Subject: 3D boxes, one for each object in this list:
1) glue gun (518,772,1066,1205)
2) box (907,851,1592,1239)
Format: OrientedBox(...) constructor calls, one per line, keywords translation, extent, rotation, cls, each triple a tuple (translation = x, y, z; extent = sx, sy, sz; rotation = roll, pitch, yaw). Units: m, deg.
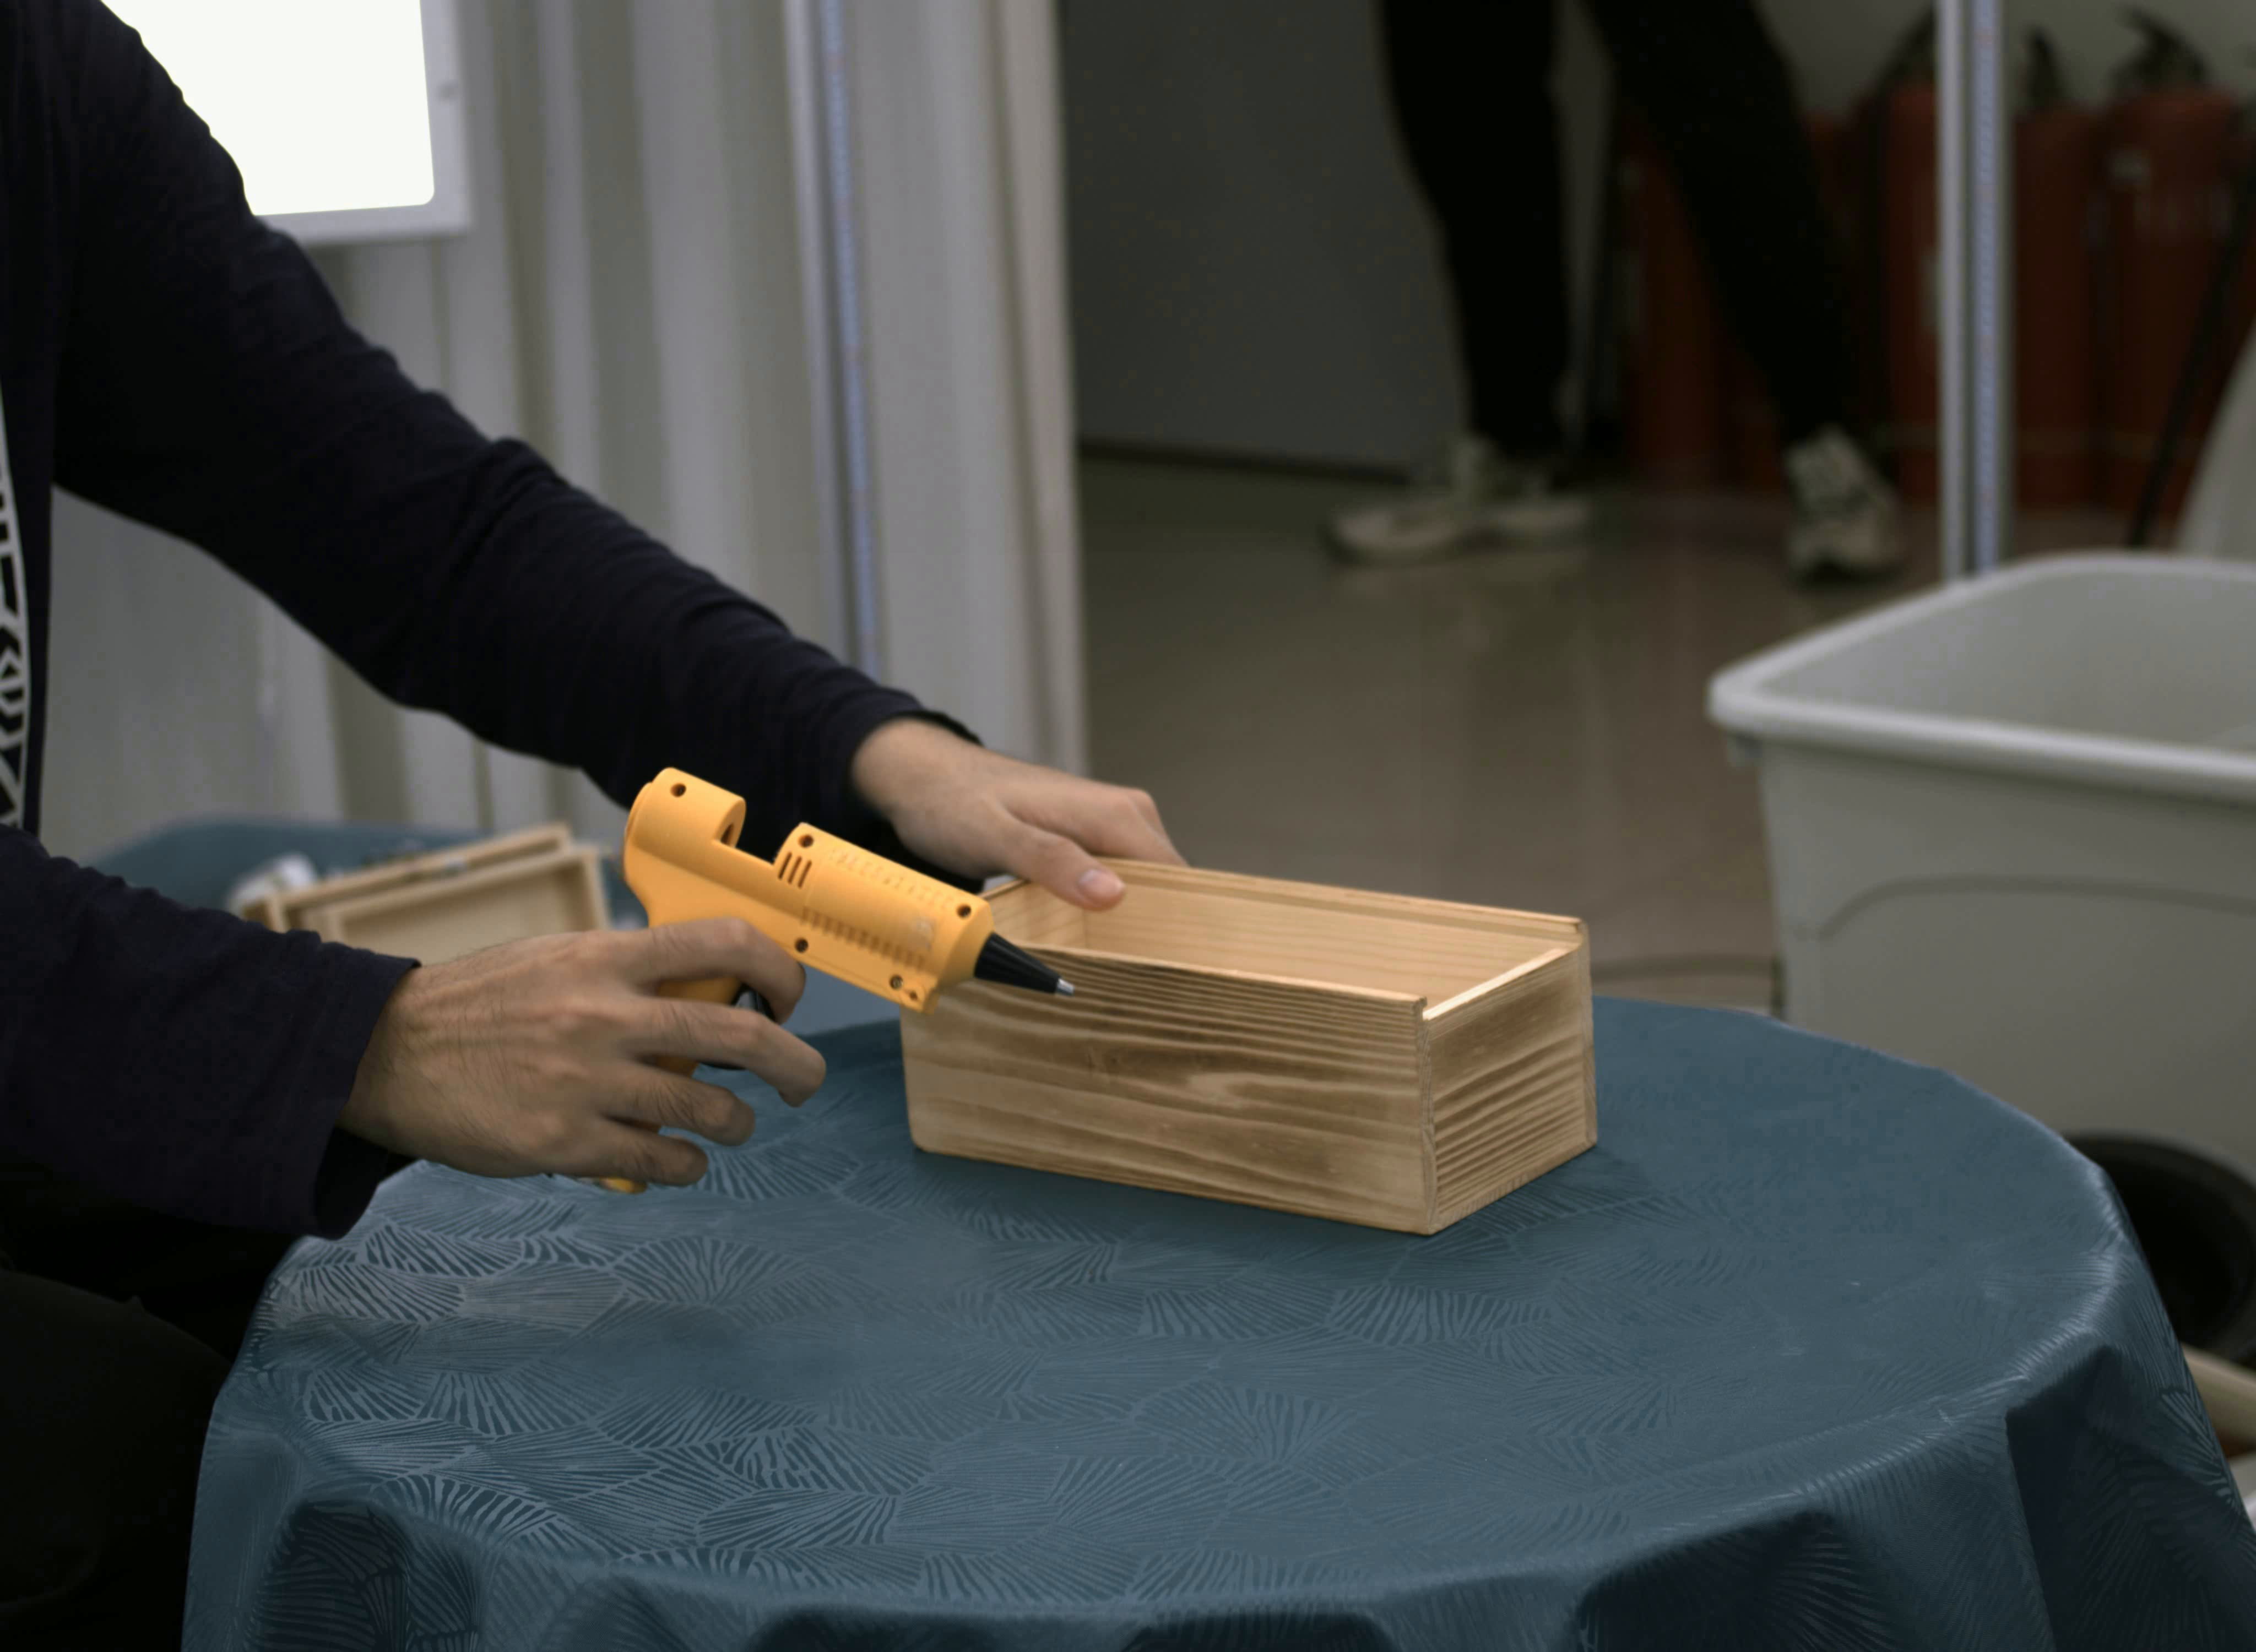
OrientedBox(translation=(-0.101, 0.066, 1.668), extent=(0.151, 0.134, 0.031), rotation=(16, -8, 15), cls="glue gun")
OrientedBox(translation=(0.039, 0.070, 1.805), extent=(0.213, 0.081, 0.105), rotation=(8, 18, 37), cls="box")
